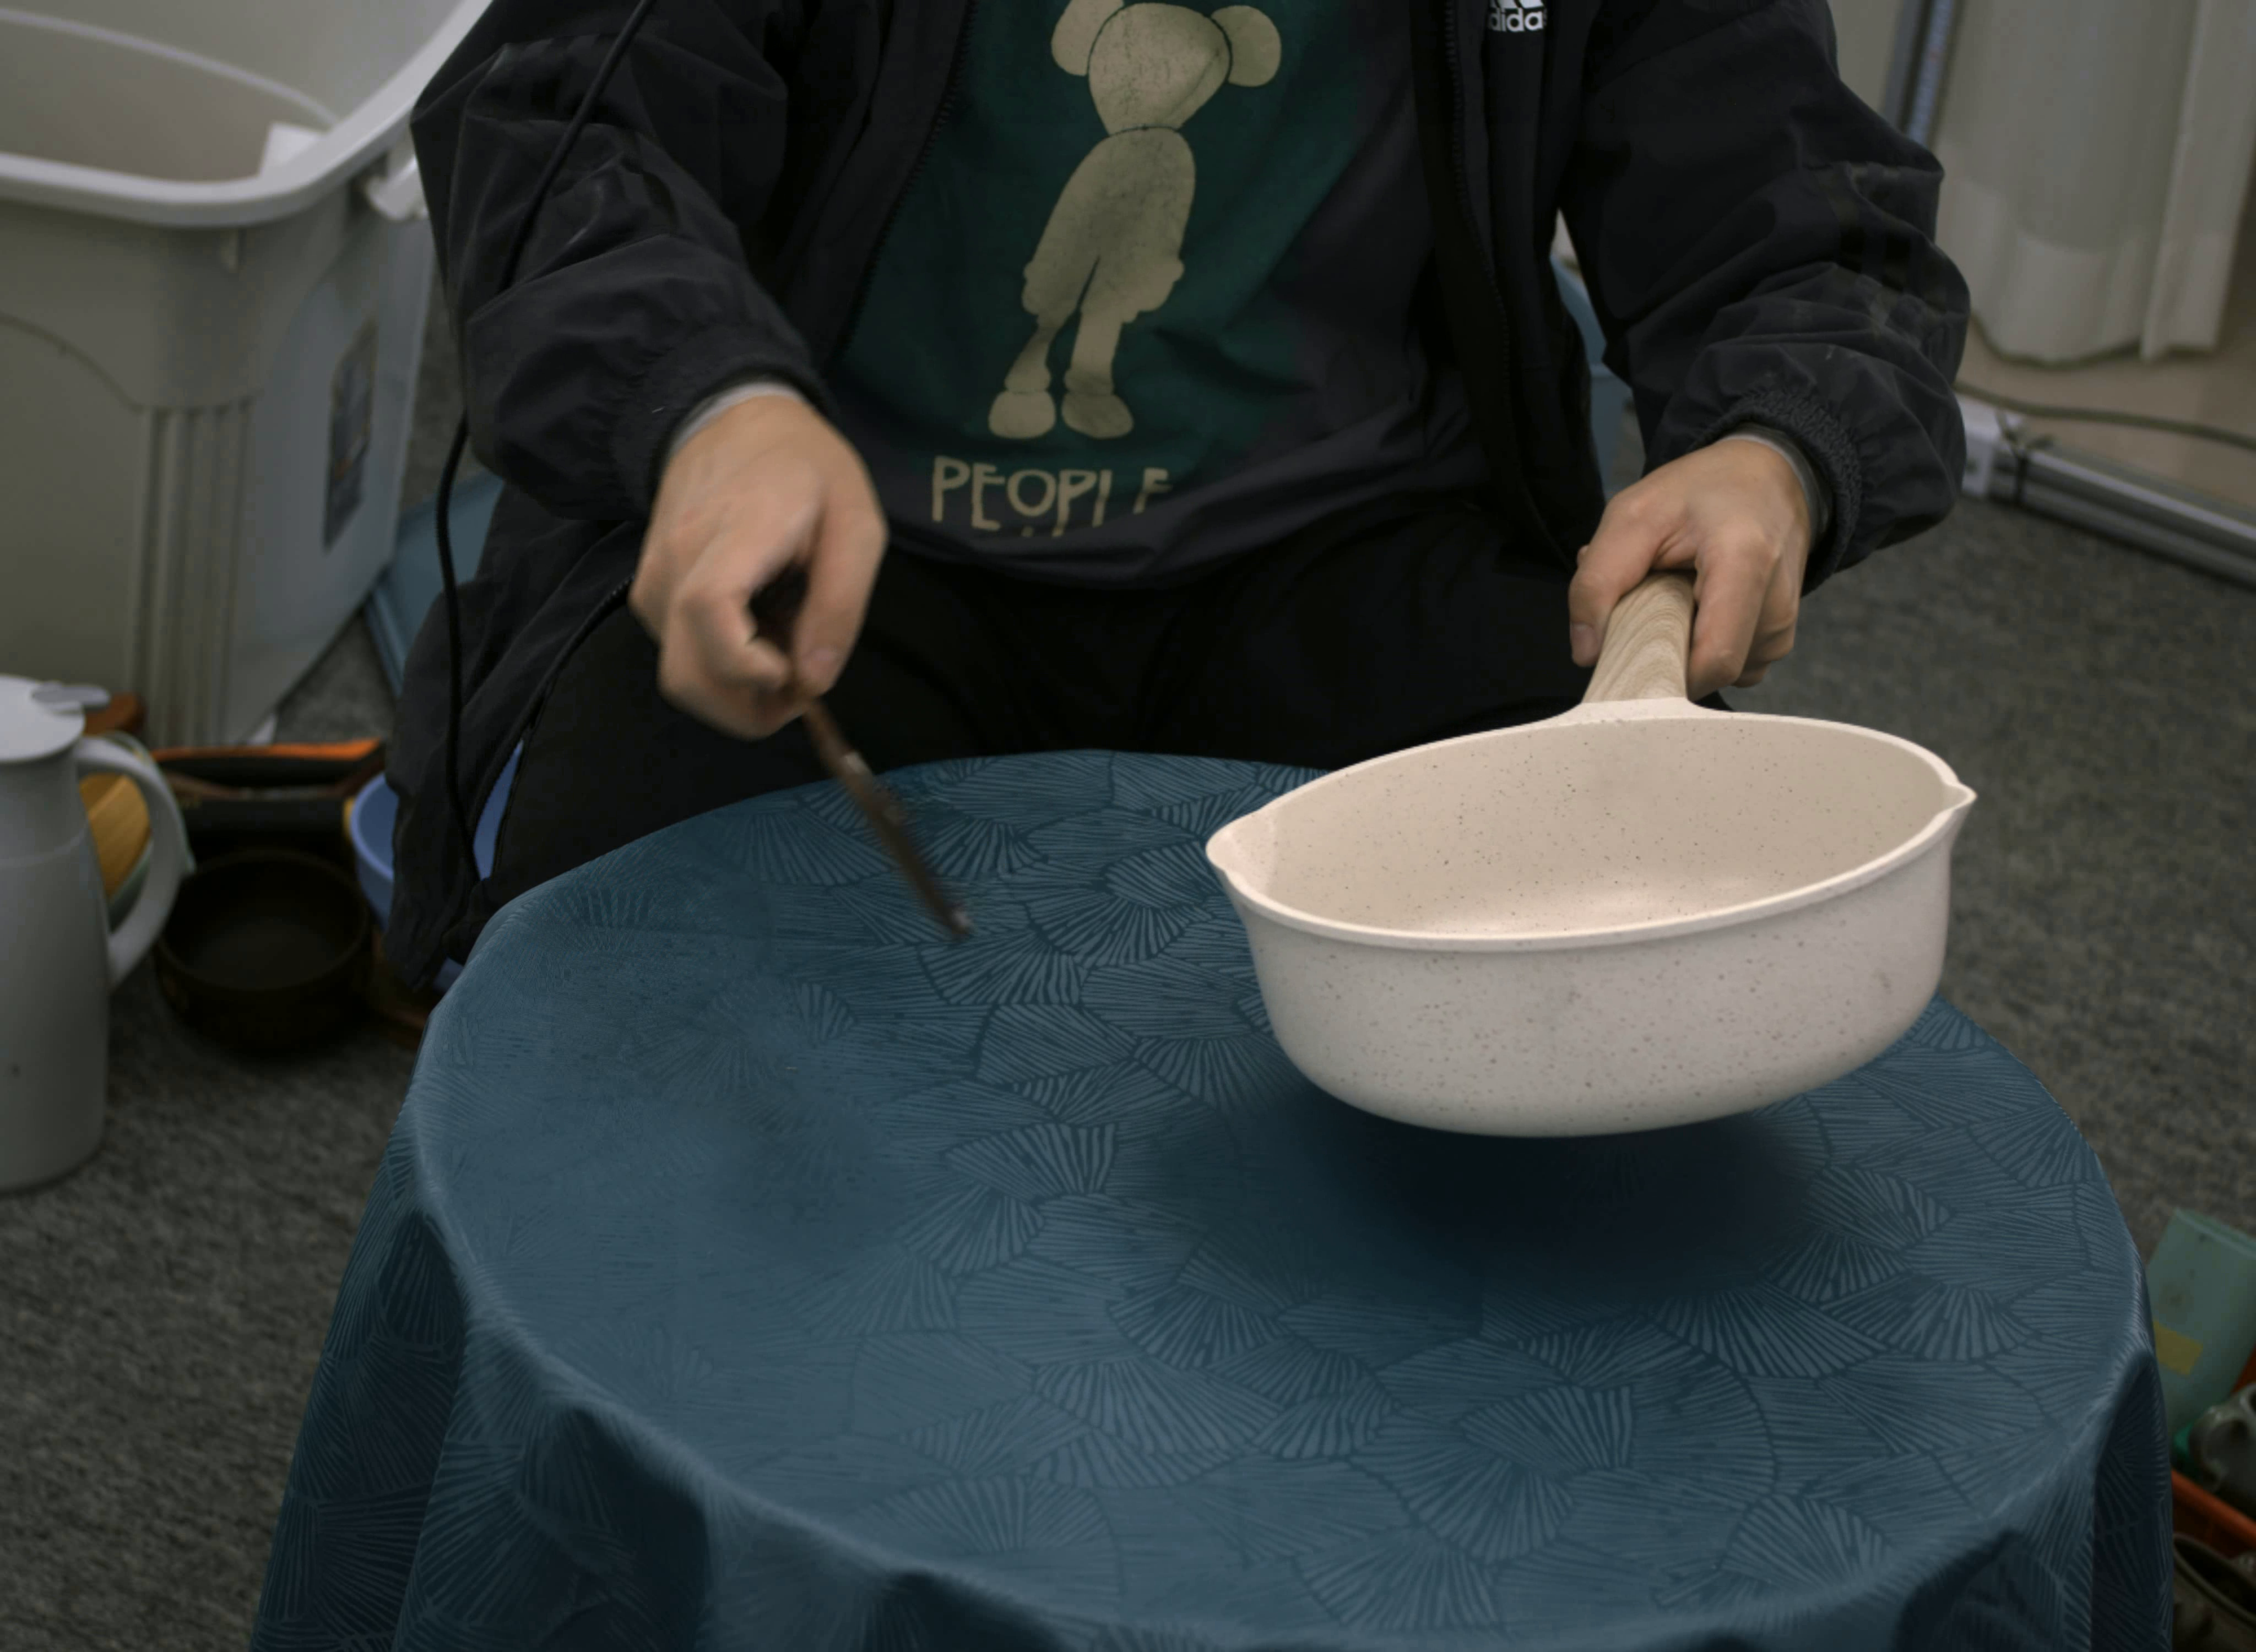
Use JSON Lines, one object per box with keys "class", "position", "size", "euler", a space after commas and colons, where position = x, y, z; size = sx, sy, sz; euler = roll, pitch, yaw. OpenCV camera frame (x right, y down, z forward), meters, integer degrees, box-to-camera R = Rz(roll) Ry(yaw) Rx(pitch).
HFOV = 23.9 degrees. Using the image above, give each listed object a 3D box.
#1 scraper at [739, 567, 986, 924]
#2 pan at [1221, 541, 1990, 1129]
{"class": "scraper", "position": [-0.099, -0.037, 1.843], "size": [0.011, 0.075, 0.213], "euler": [-31, 35, -5]}
{"class": "pan", "position": [0.182, -0.001, 1.901], "size": [0.263, 0.102, 0.435], "euler": [-5, 16, 13]}
